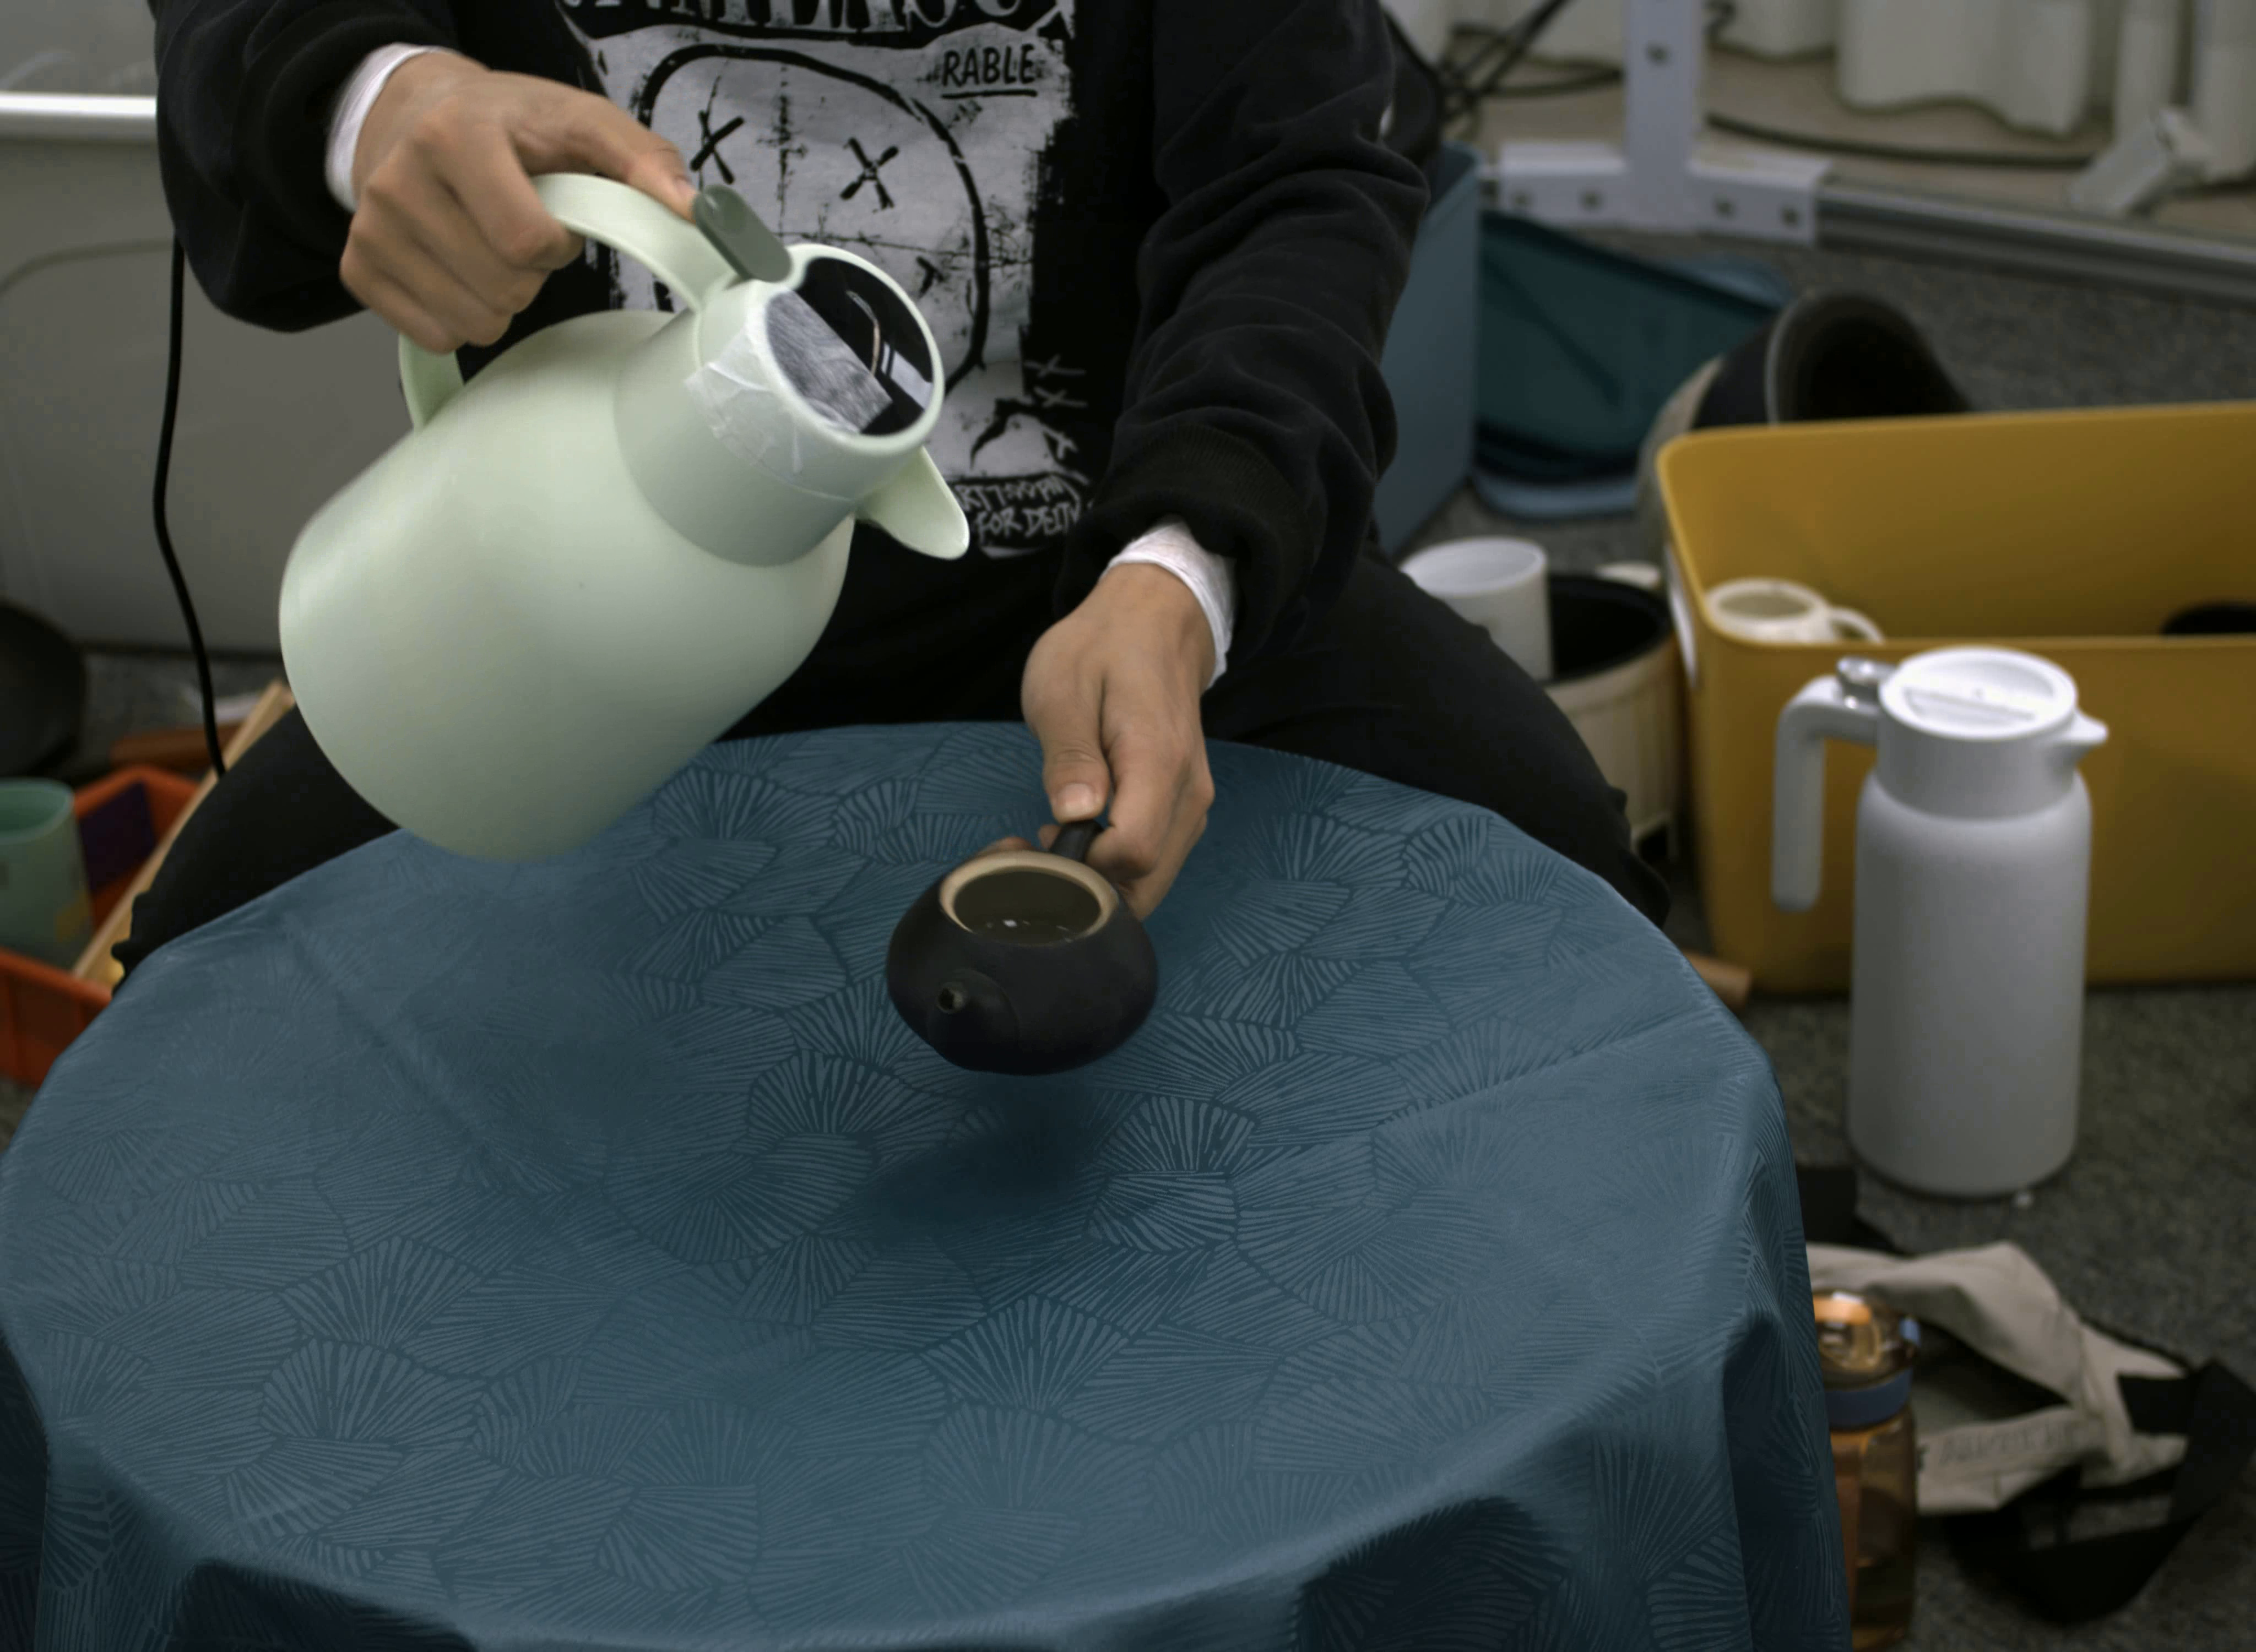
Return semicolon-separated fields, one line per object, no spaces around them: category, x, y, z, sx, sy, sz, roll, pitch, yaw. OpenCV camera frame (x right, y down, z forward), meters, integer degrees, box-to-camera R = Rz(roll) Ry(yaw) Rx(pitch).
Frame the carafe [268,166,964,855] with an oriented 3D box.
carafe;-0.173;-0.111;1.842;0.252;0.186;0.147;-37;10;43

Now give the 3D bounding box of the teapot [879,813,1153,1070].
teapot;-0.036;0.043;1.851;0.090;0.052;0.135;15;33;15
